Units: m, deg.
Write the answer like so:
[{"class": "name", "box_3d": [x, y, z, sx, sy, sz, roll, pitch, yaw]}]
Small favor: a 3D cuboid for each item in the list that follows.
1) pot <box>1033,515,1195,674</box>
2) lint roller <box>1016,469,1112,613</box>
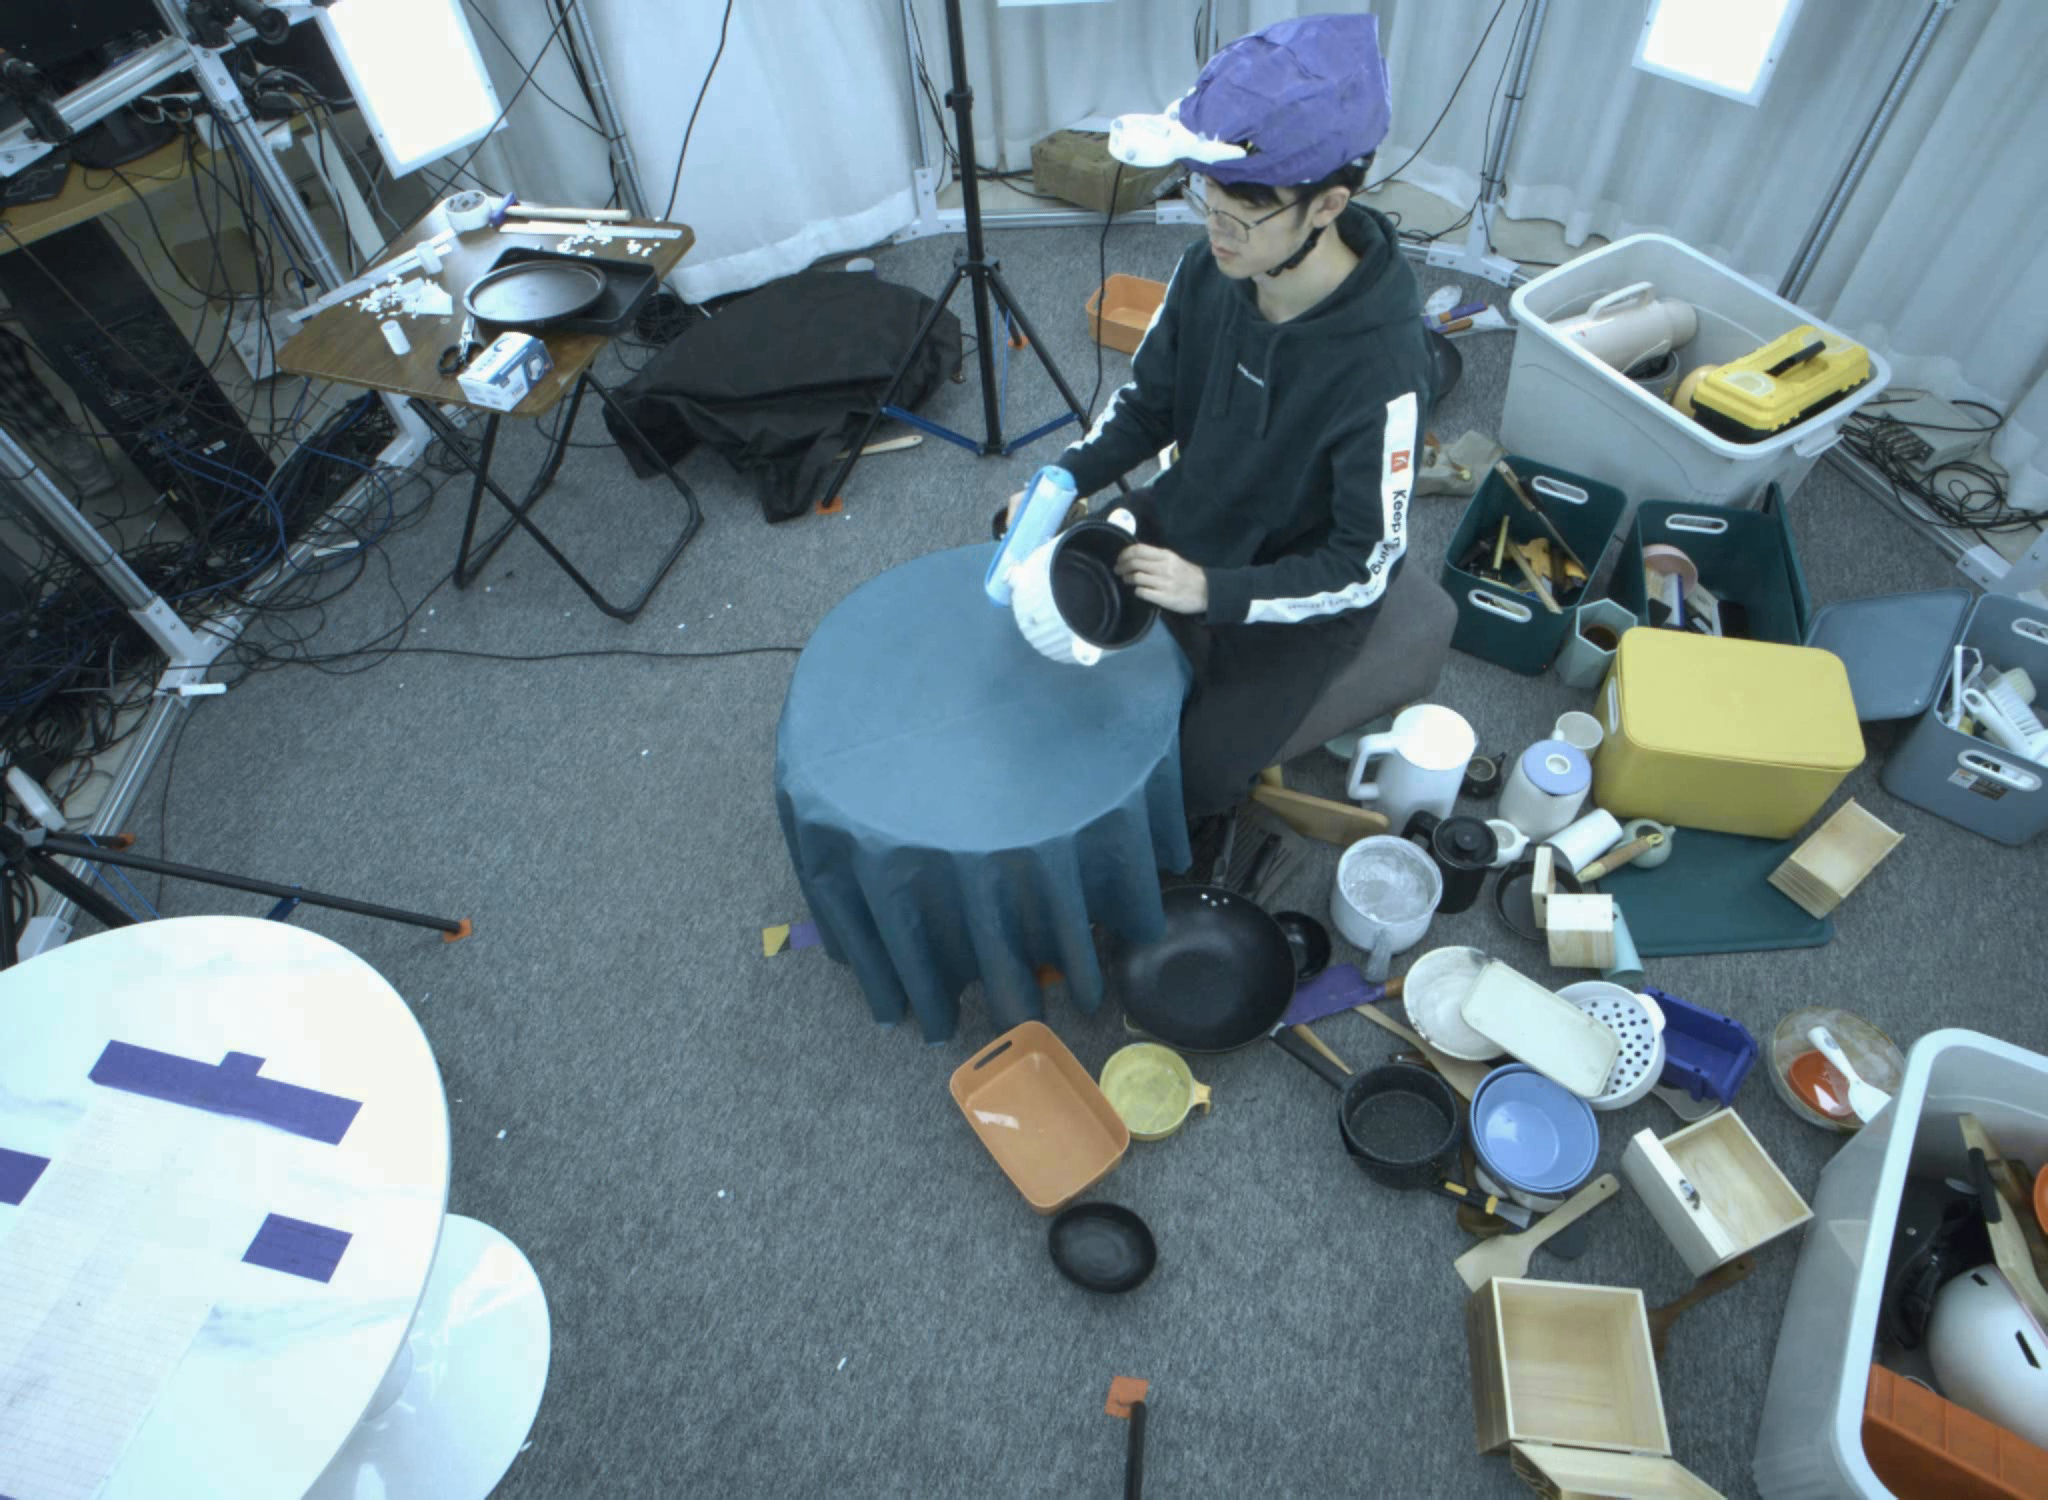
[{"class": "pot", "box_3d": [0.118, -0.204, 1.692, 0.194, 0.140, 0.239, 27, 68, -28]}, {"class": "lint roller", "box_3d": [0.061, -0.318, 1.789, 0.068, 0.228, 0.179, 25, 26, -7]}]
